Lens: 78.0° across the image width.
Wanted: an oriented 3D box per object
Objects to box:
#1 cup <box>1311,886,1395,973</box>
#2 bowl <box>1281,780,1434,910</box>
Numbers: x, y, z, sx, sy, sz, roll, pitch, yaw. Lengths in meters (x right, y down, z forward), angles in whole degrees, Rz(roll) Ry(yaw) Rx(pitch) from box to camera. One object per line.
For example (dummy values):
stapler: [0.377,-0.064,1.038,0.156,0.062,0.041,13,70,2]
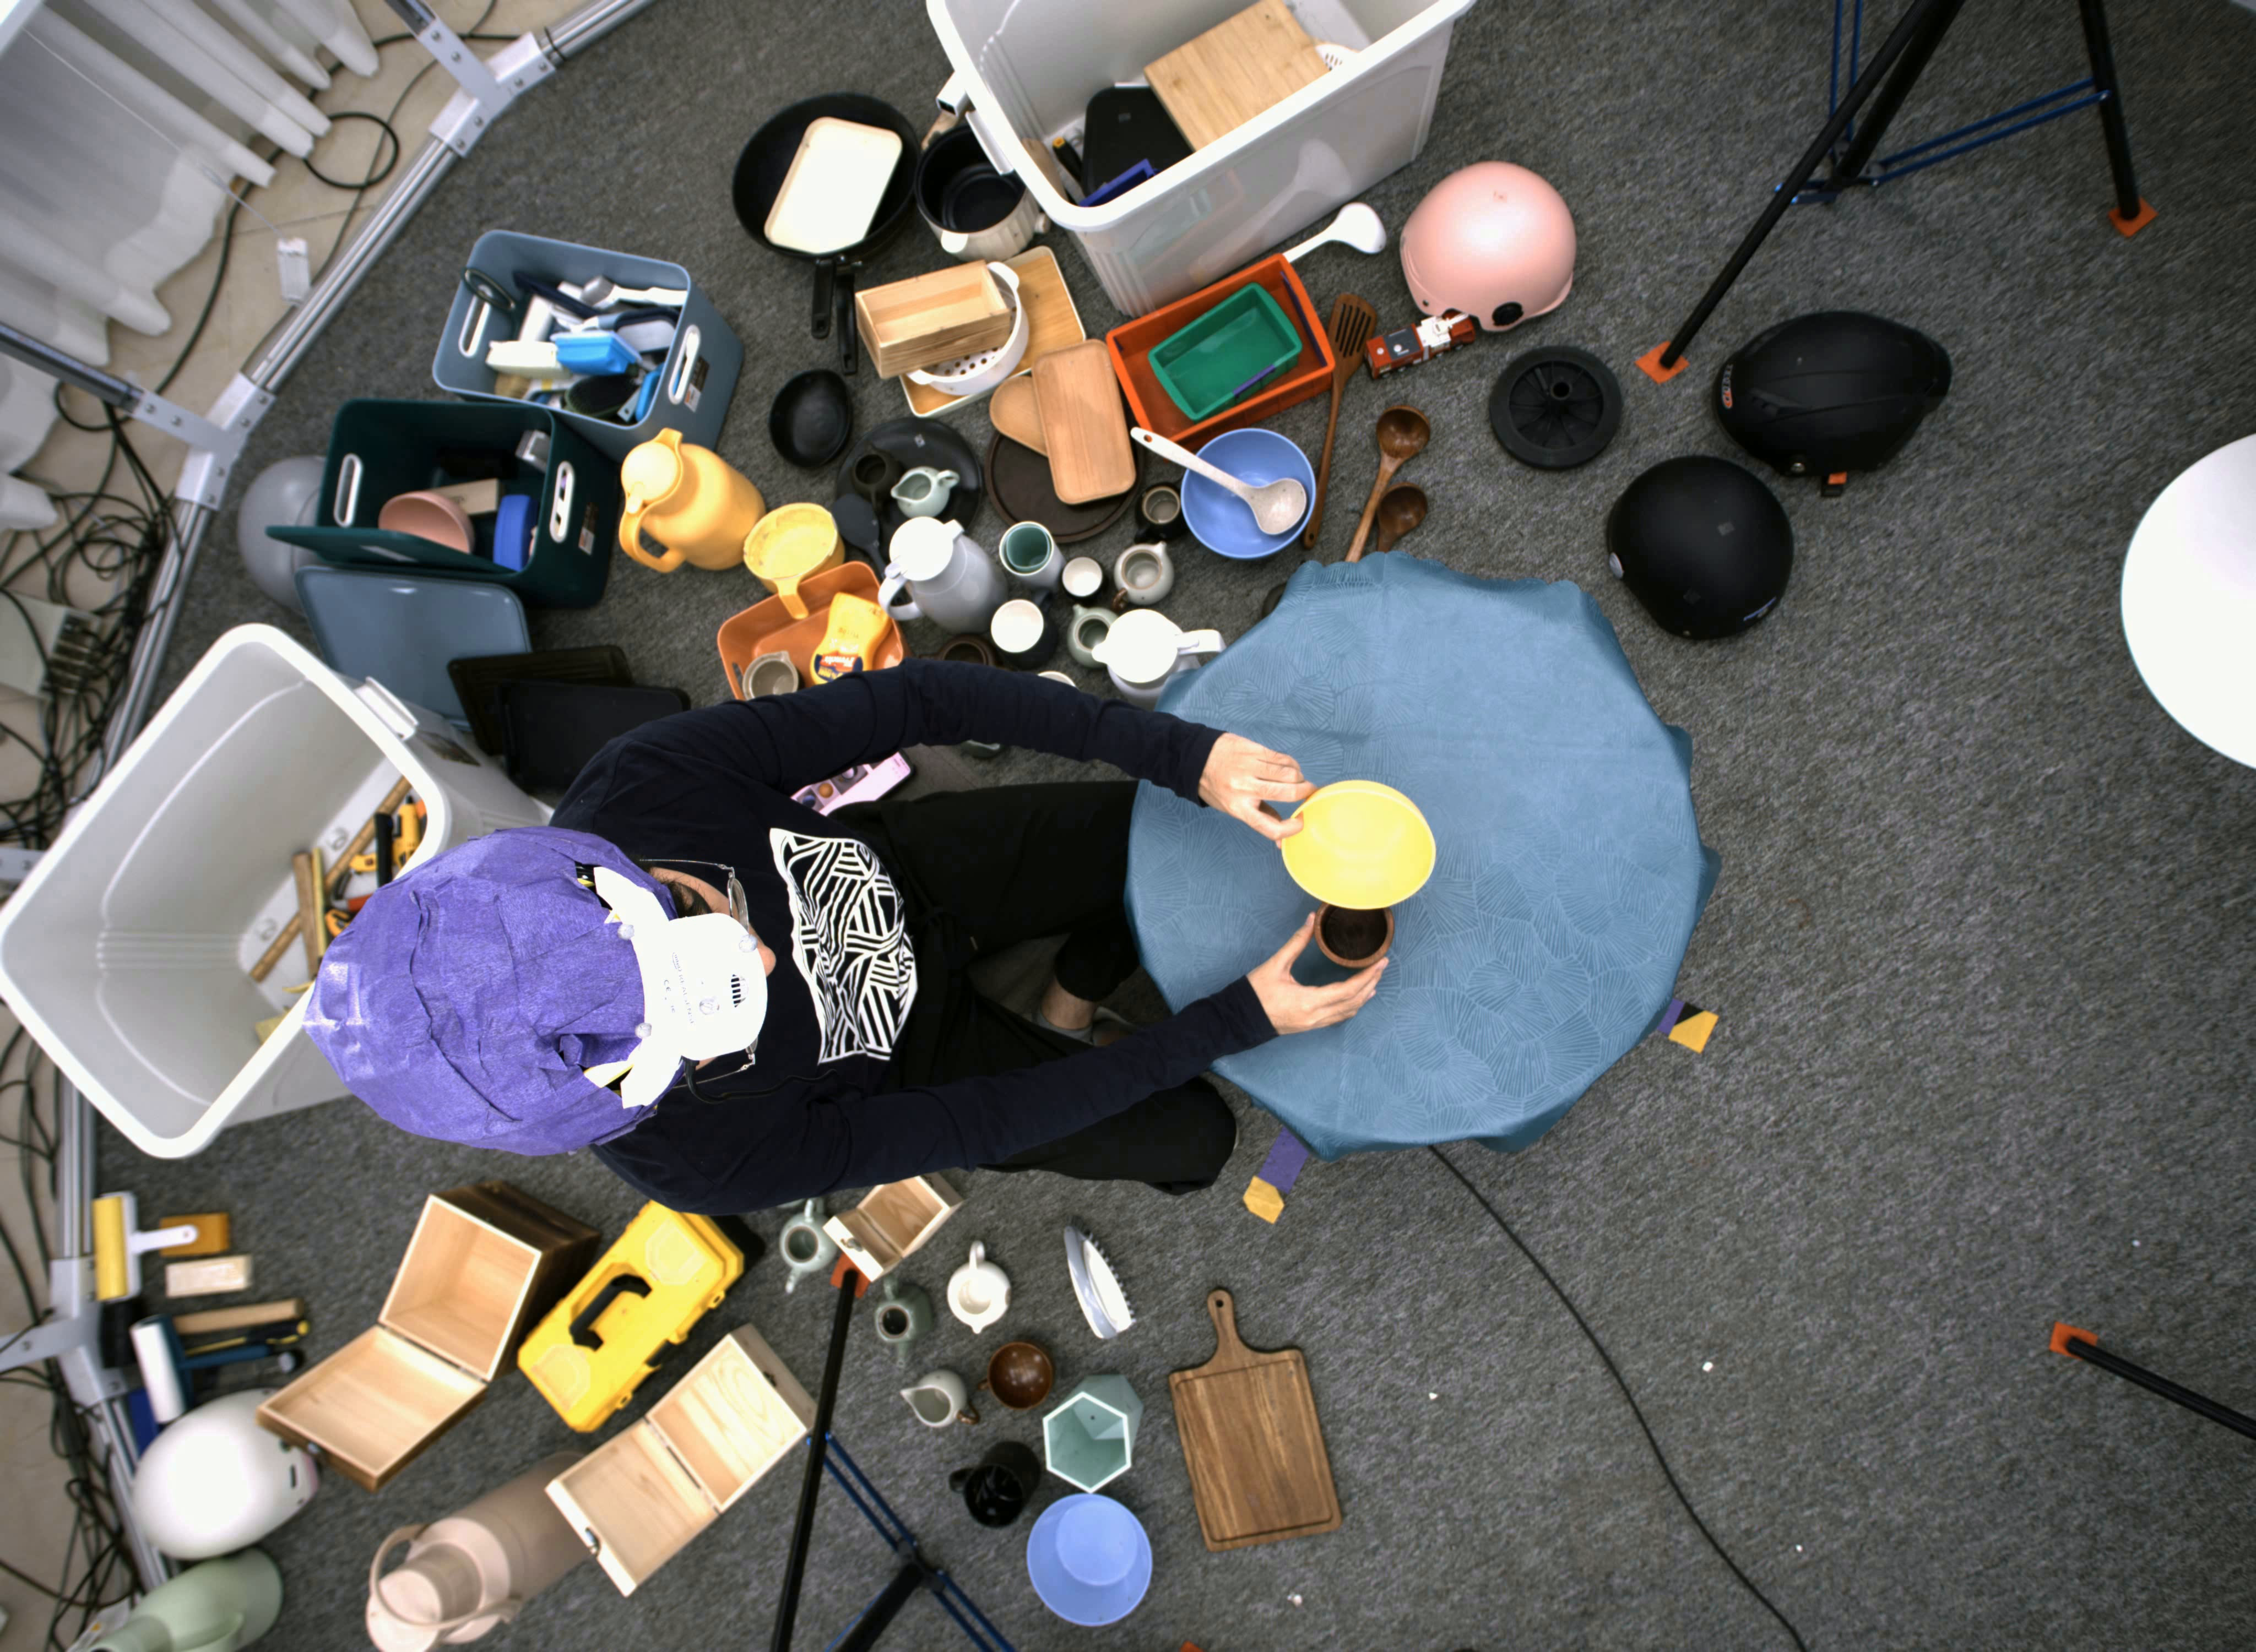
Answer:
cup: [0.230,0.107,1.405,0.088,0.119,0.087,-1,82,10]
bowl: [0.221,0.006,1.318,0.145,0.058,0.149,8,130,9]
